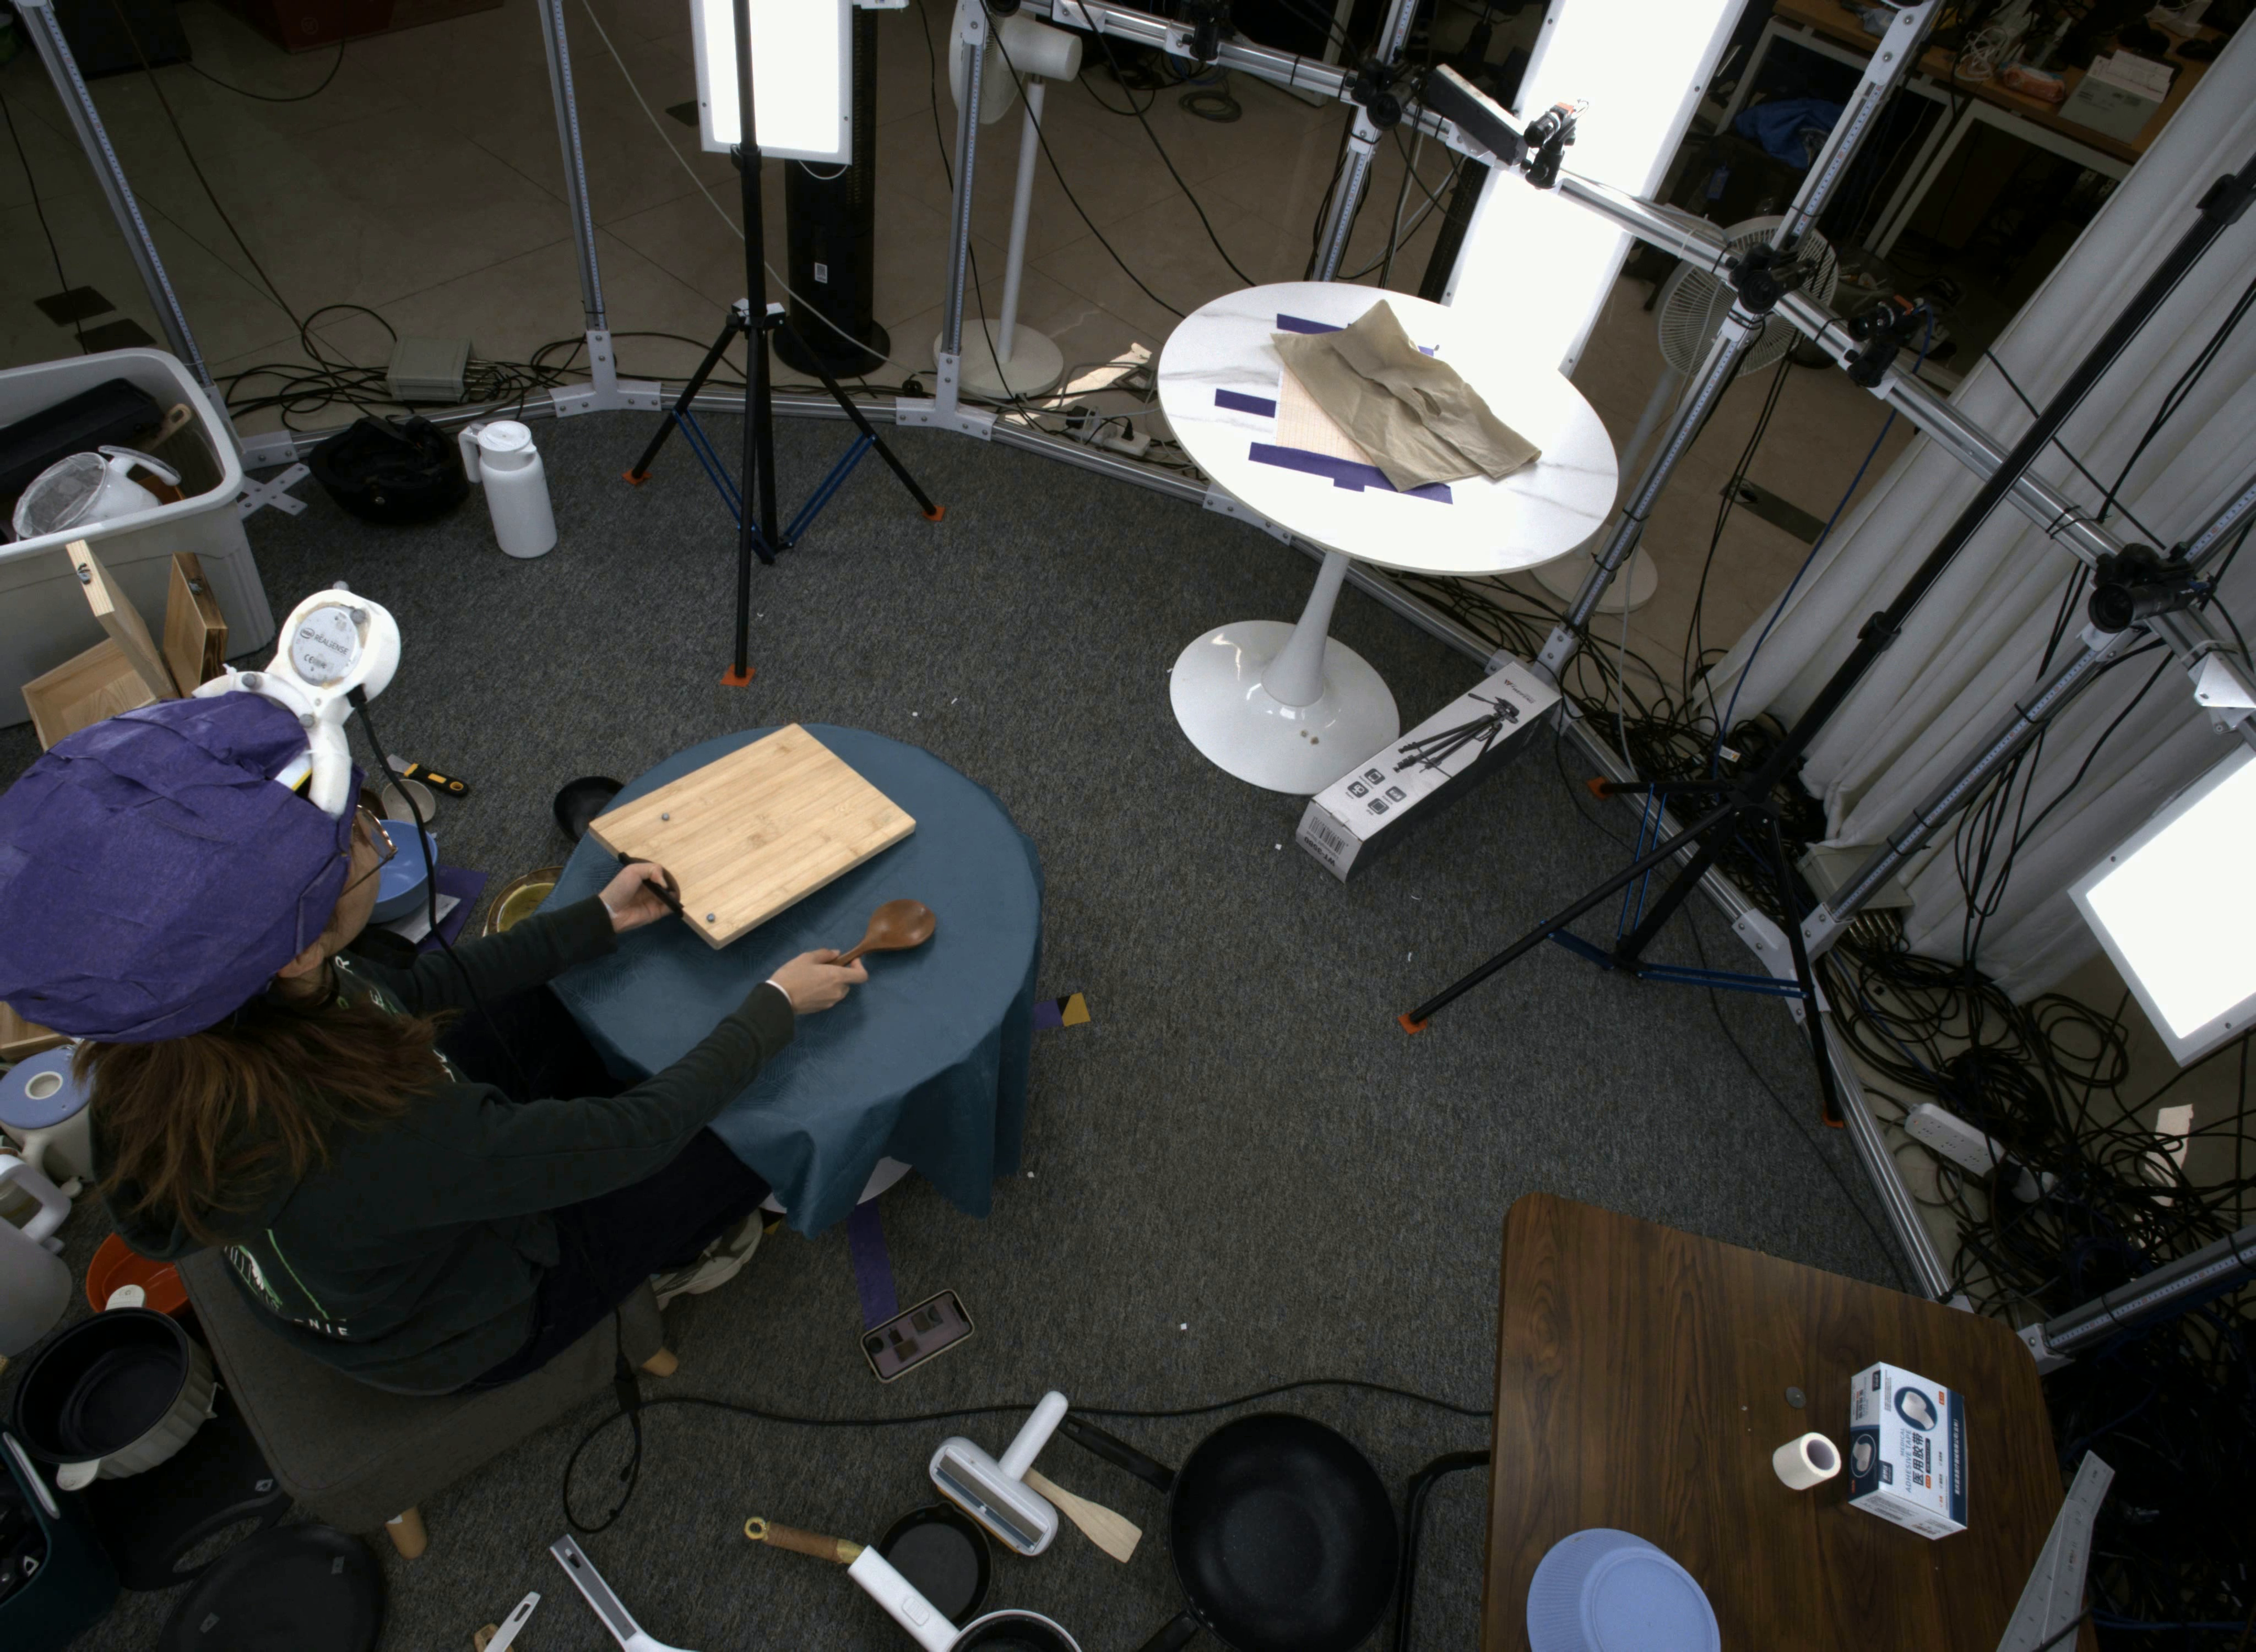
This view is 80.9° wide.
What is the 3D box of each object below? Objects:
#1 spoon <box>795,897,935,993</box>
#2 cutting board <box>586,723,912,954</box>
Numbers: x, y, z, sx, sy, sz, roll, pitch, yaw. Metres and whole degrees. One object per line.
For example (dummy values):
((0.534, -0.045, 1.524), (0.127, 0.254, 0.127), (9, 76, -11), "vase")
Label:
((-0.325, 0.147, 1.604), (0.074, 0.017, 0.217), (42, 42, 15), "spoon")
((-0.479, 0.003, 1.658), (0.245, 0.024, 0.349), (37, 43, 14), "cutting board")
